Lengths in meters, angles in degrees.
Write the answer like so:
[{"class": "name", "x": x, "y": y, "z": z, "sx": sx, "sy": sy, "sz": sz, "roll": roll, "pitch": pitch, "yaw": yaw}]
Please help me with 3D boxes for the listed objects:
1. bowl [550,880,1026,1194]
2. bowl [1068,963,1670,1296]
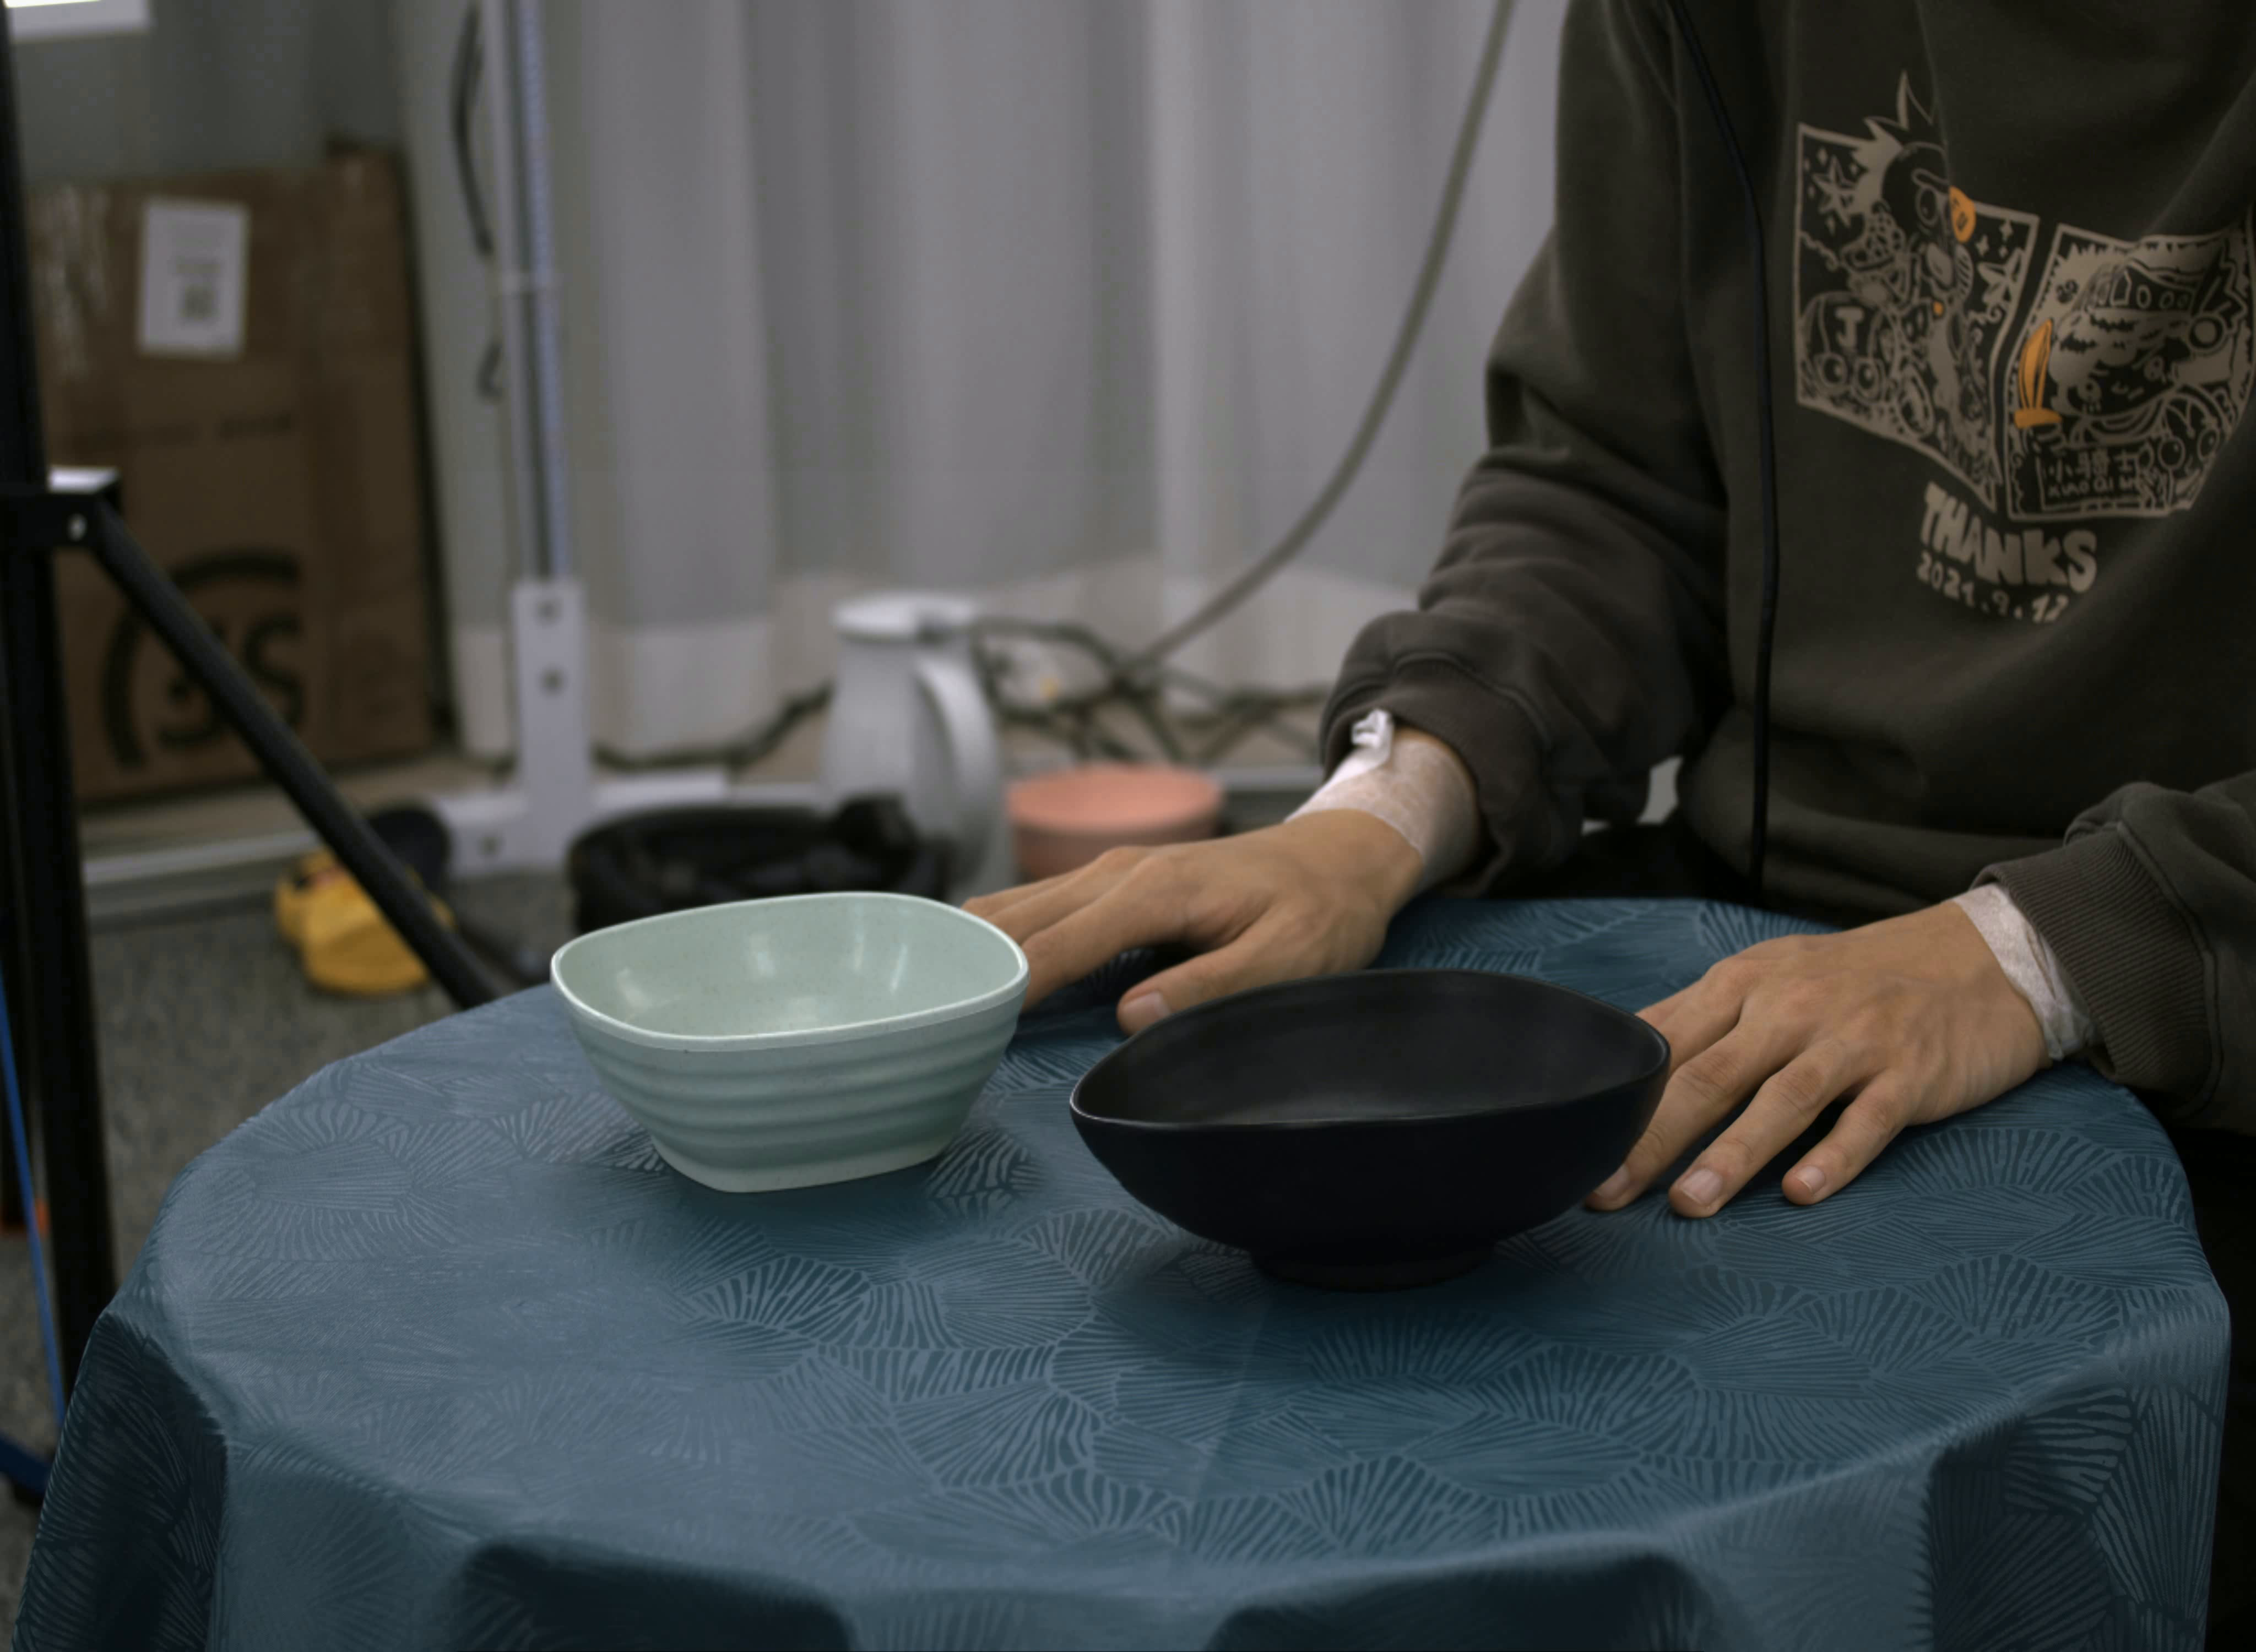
[{"class": "bowl", "x": -0.102, "y": 0.067, "z": 1.617, "sx": 0.150, "sy": 0.058, "sz": 0.152, "roll": -3, "pitch": 18, "yaw": -1}, {"class": "bowl", "x": 0.069, "y": 0.091, "z": 1.494, "sx": 0.169, "sy": 0.066, "sz": 0.138, "roll": -4, "pitch": 15, "yaw": 0}]
